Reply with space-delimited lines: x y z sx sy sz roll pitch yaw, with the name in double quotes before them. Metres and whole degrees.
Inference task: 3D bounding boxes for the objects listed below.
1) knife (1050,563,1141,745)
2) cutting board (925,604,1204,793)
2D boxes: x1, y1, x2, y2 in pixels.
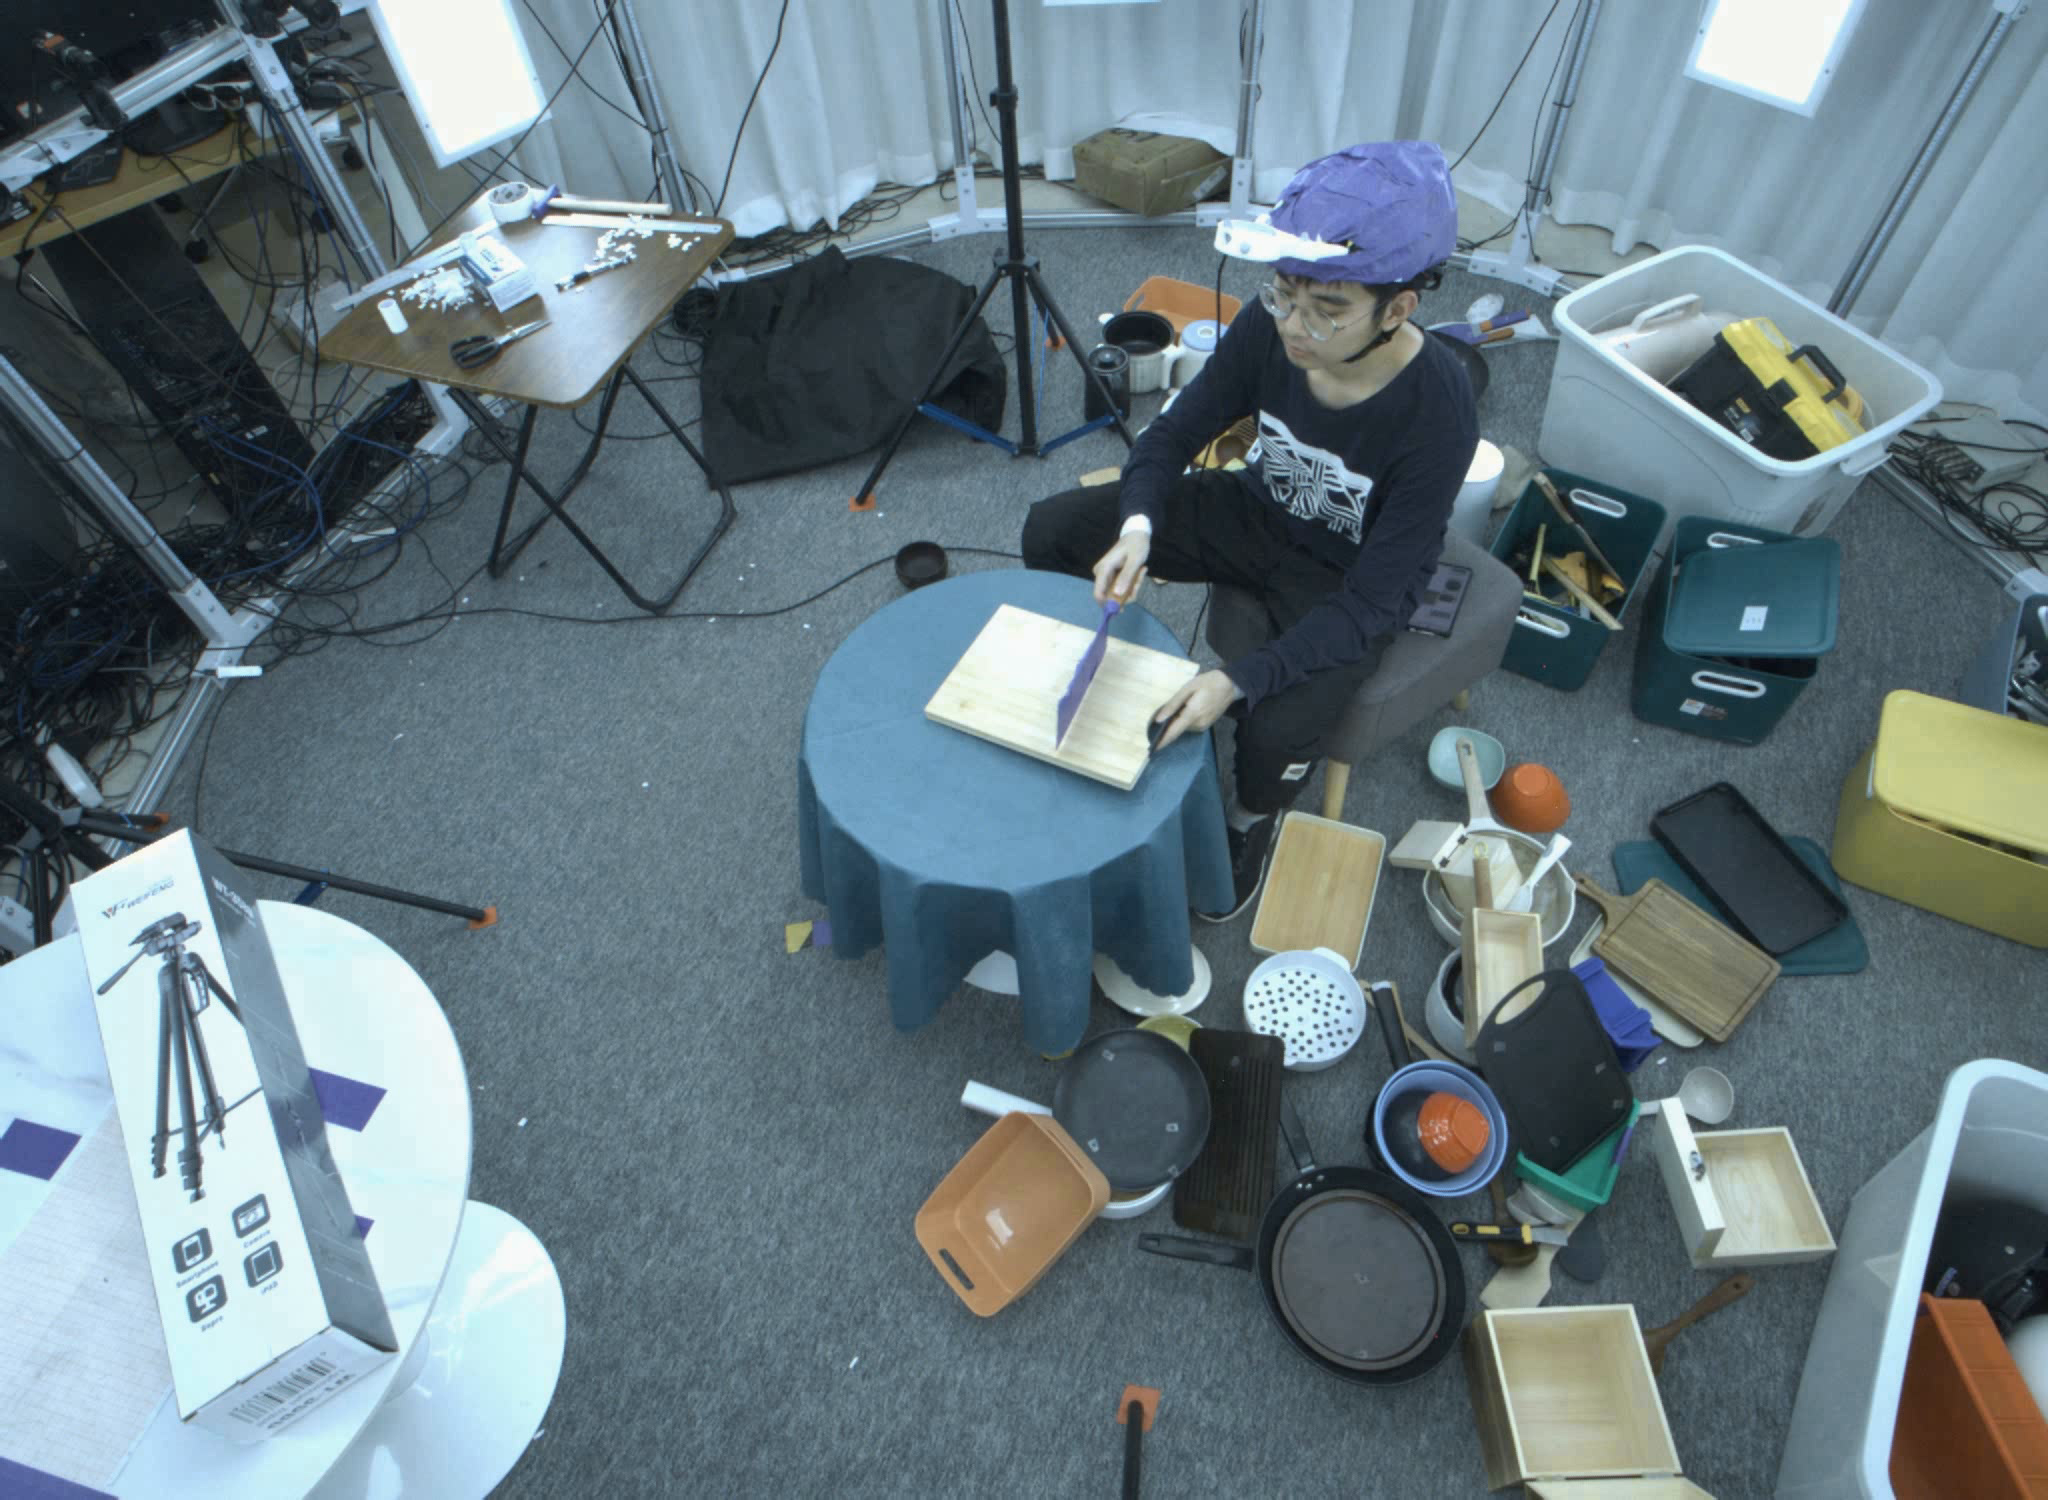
"knife" 0.100 -0.142 1.793 0.032 0.104 0.315 21 55 11
"cutting board" 0.061 -0.085 1.829 0.343 0.024 0.251 20 57 20
